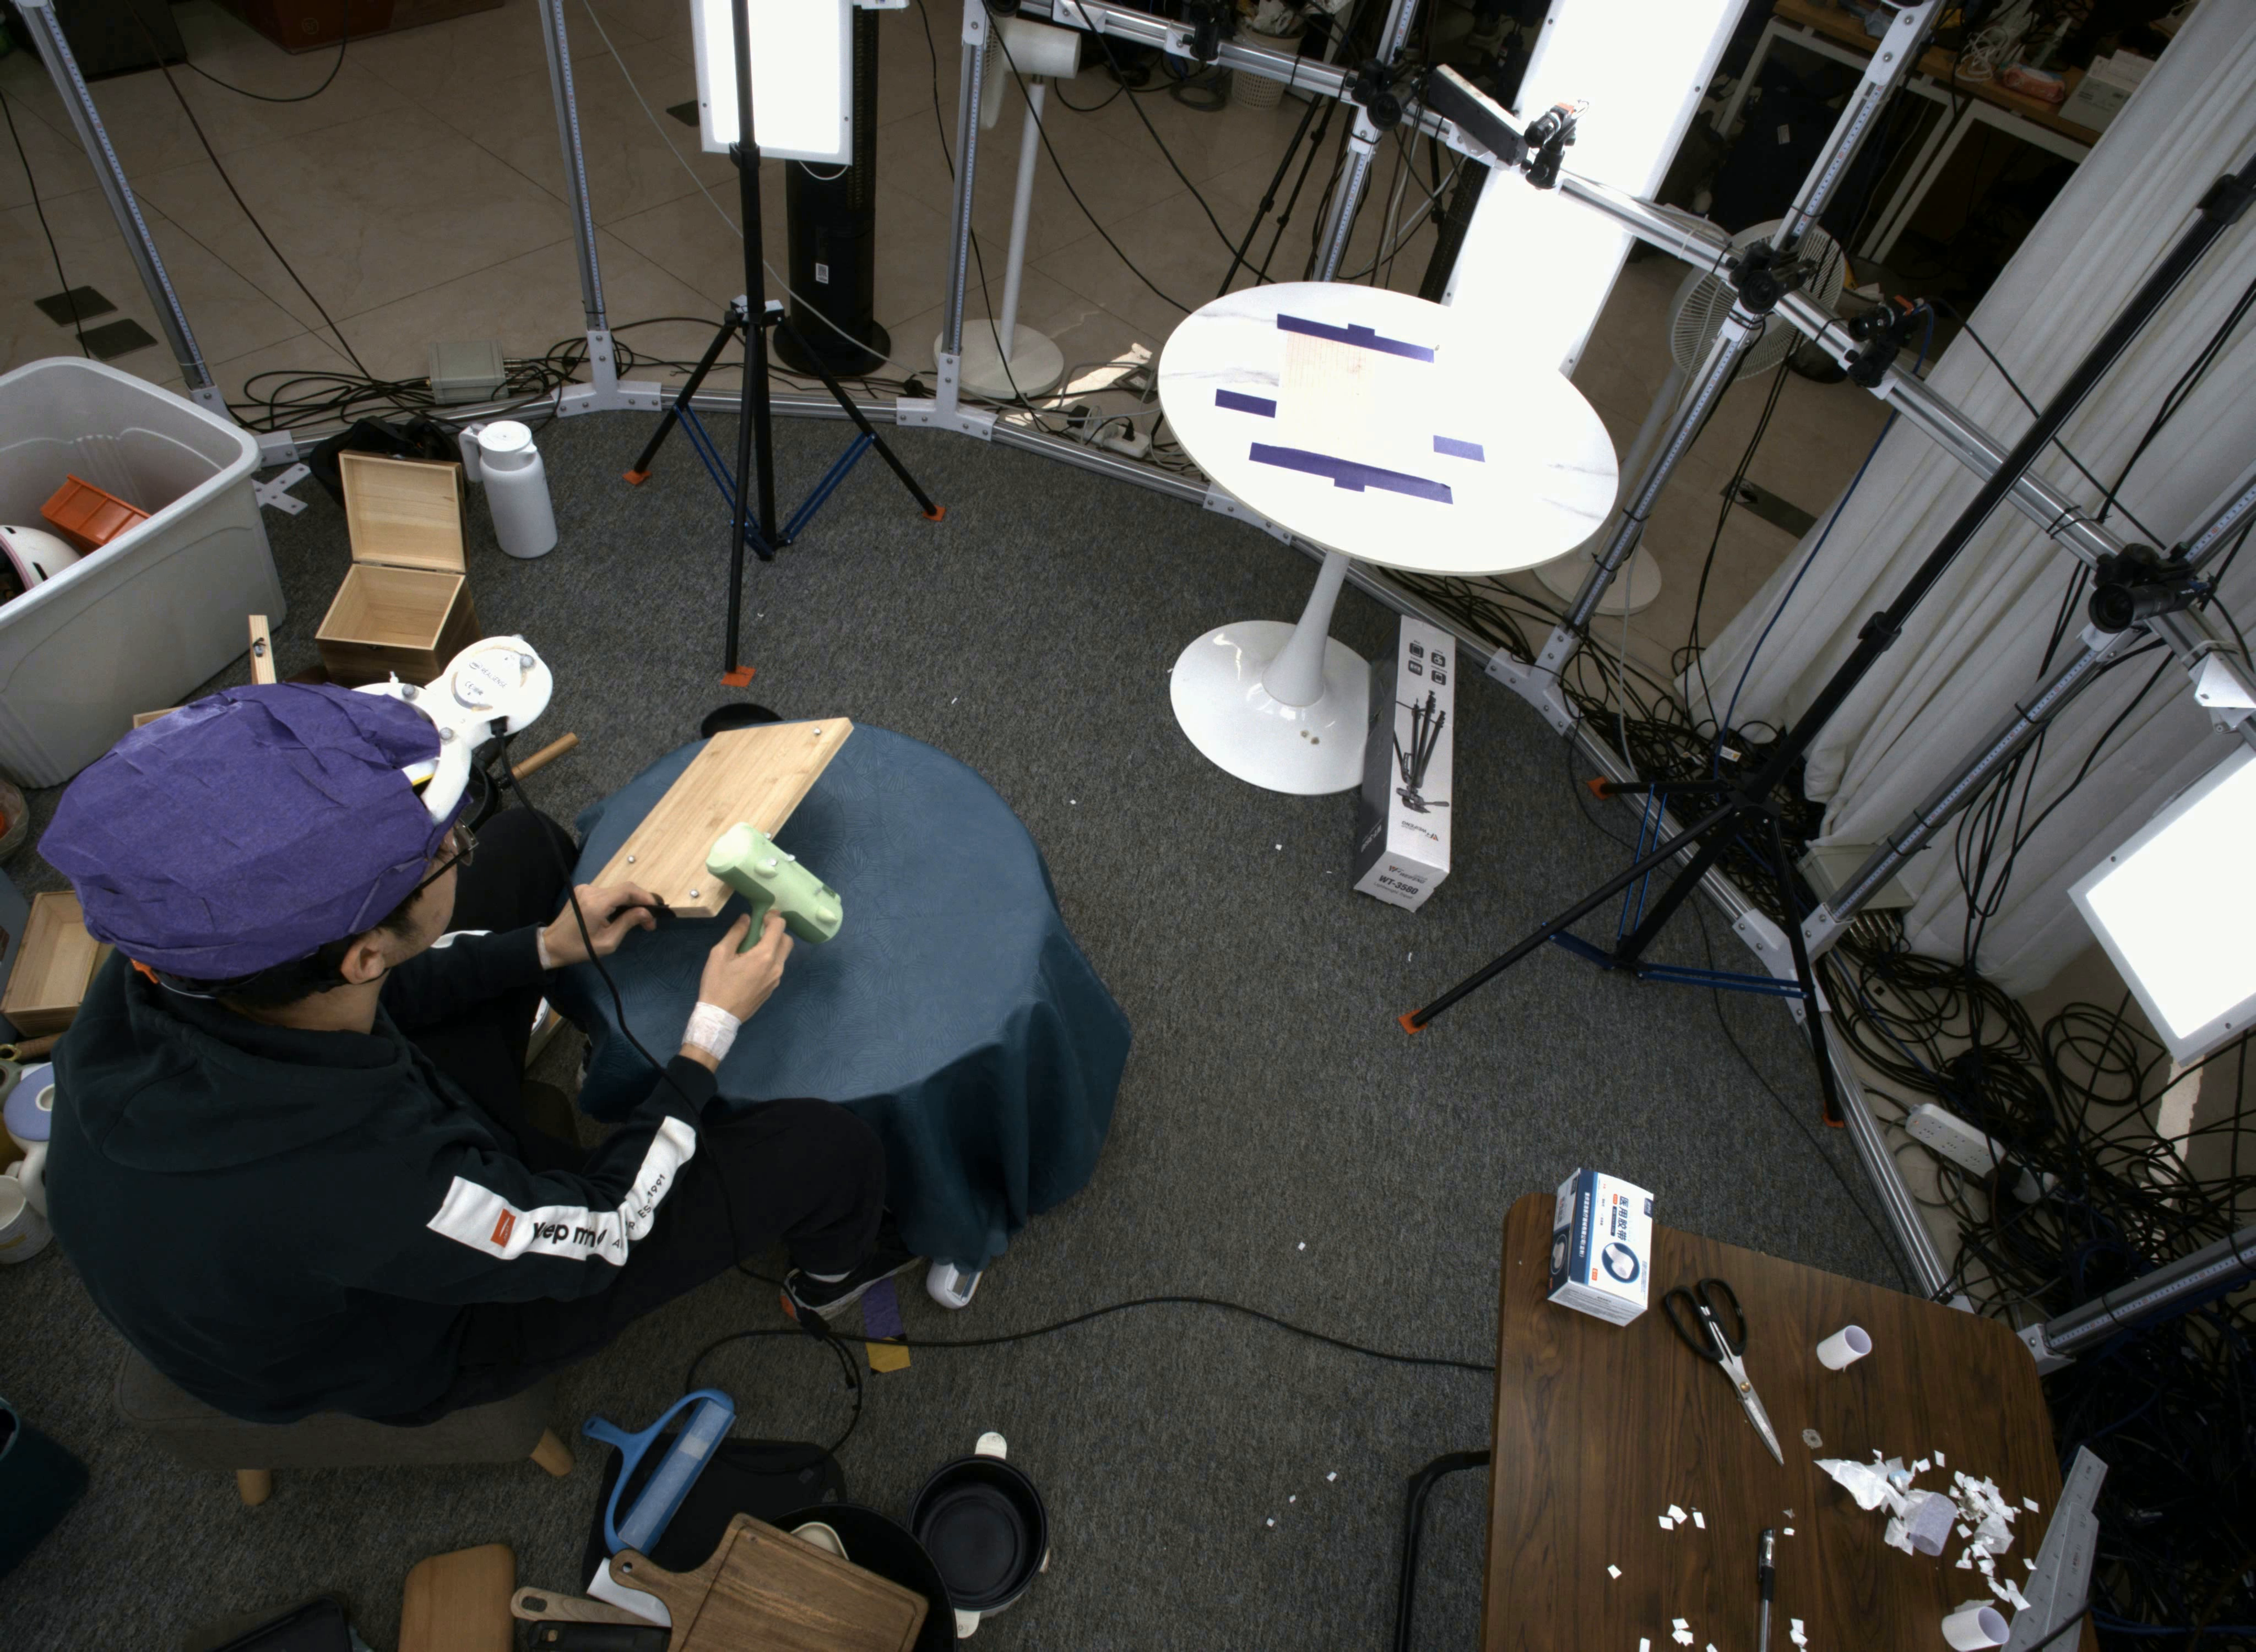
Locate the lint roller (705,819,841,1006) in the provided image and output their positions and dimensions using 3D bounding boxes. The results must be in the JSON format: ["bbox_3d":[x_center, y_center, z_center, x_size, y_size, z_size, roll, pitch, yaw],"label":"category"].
[{"bbox_3d":[-0.412,0.117,1.482,0.080,0.206,0.181,-4,59,25],"label":"lint roller"}]

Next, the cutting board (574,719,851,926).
[{"bbox_3d":[-0.518,-0.010,1.612,0.243,0.024,0.345,-4,42,29],"label":"cutting board"}]
